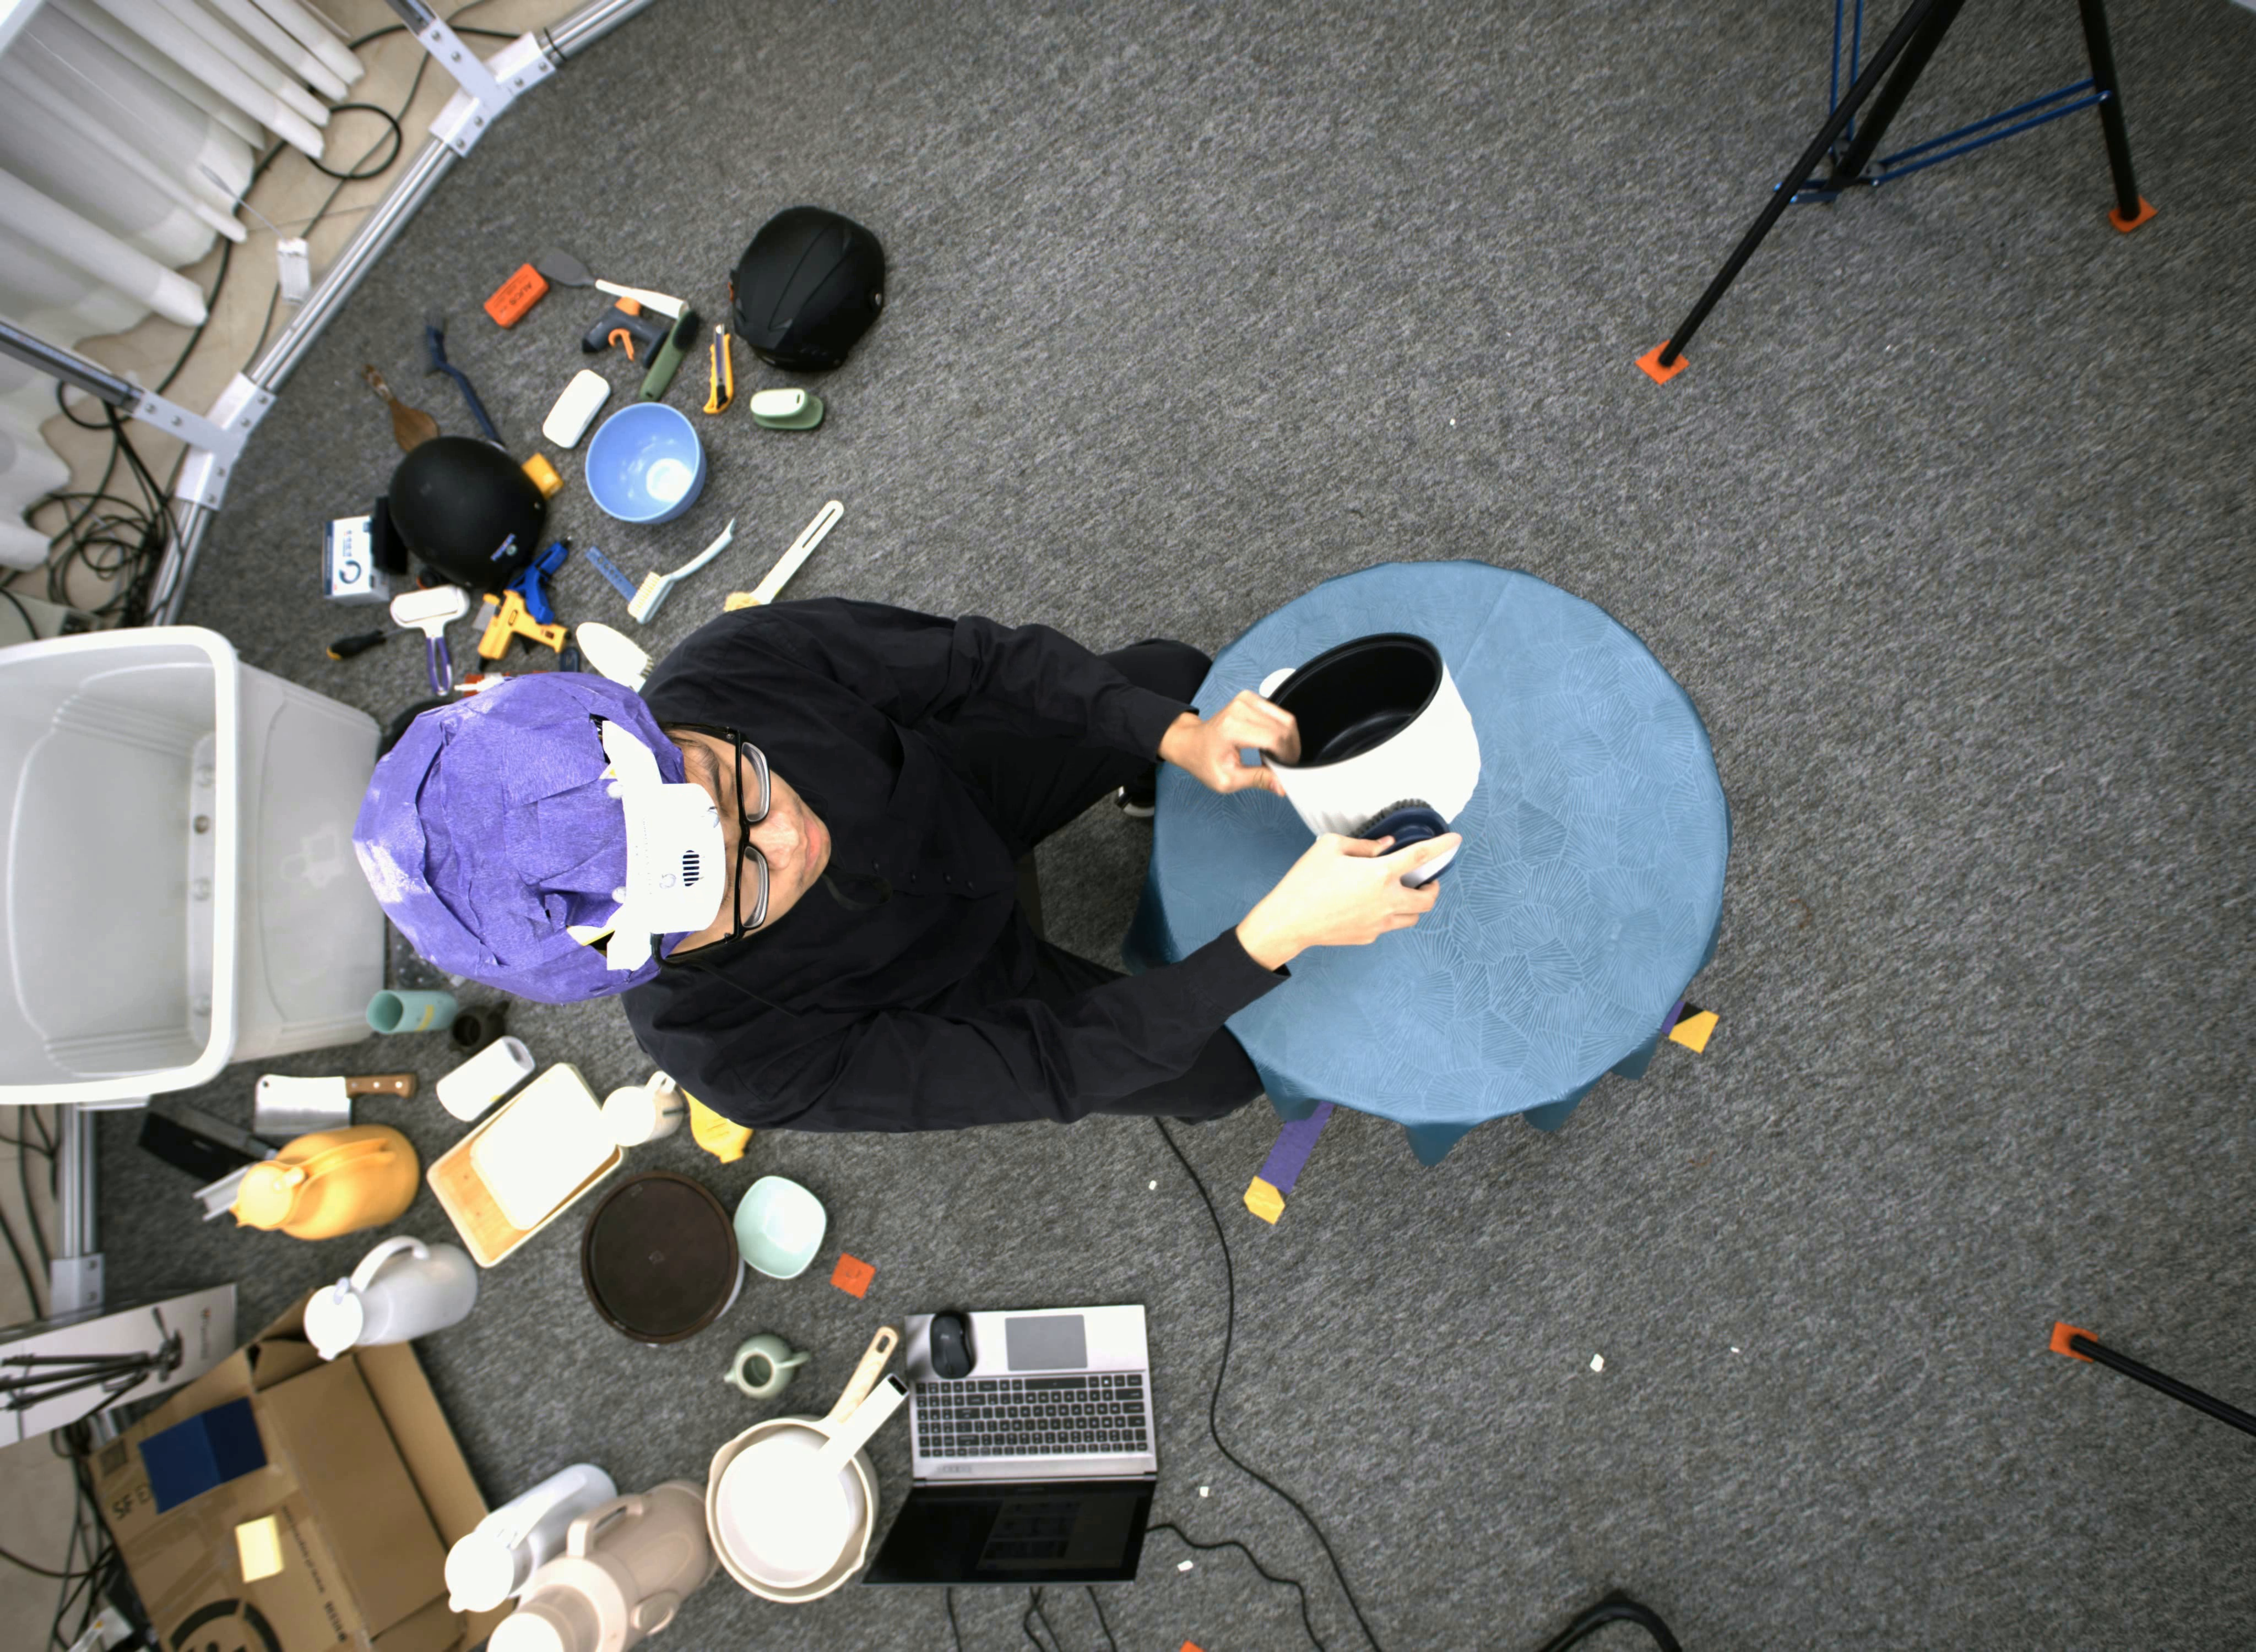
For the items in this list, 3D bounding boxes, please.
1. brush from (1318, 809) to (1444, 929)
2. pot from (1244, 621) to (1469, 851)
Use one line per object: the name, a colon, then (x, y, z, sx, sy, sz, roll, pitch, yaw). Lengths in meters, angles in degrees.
brush: (0.220, 0.036, 1.207, 0.124, 0.068, 0.059, -37, 38, 26)
pot: (0.221, -0.085, 1.271, 0.188, 0.145, 0.239, -47, 35, -14)
